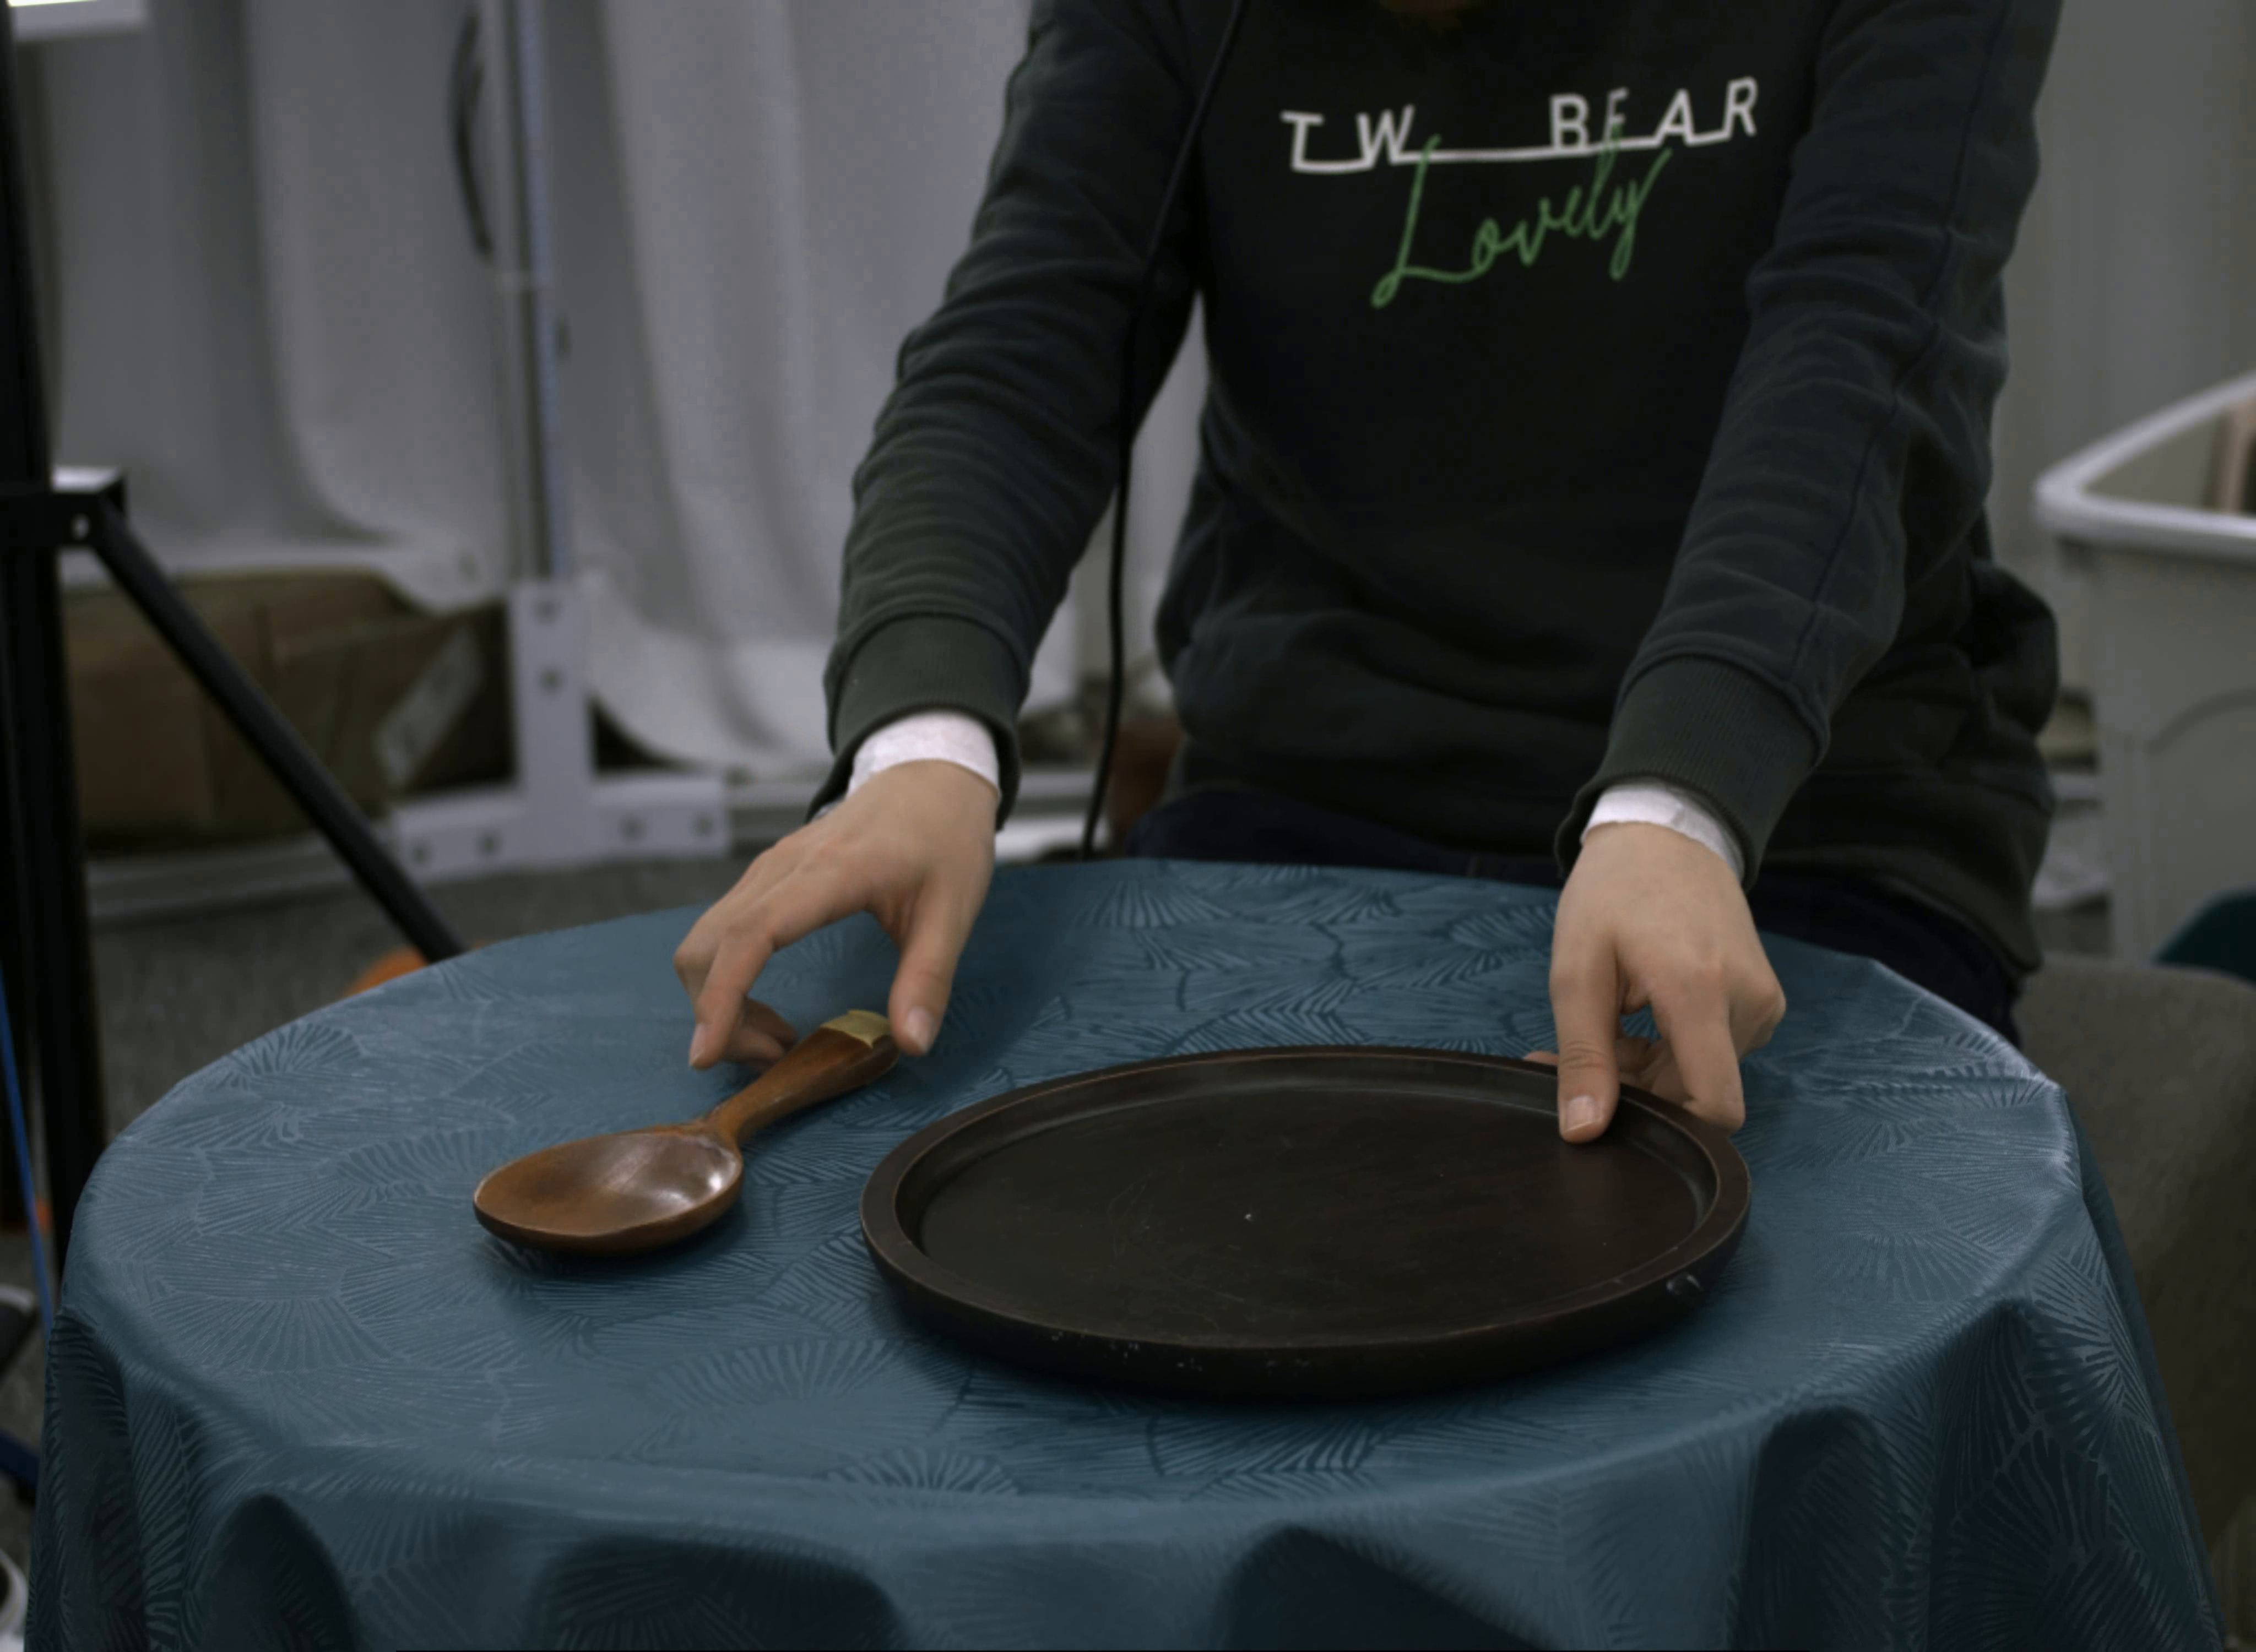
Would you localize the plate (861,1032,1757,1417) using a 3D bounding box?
[{"bbox_3d":[0.051,0.112,1.496,0.253,0.029,0.256,-3,17,-1],"label":"plate"}]

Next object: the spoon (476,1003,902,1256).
[{"bbox_3d":[-0.122,0.092,1.602,0.076,0.017,0.212,5,18,25],"label":"spoon"}]
